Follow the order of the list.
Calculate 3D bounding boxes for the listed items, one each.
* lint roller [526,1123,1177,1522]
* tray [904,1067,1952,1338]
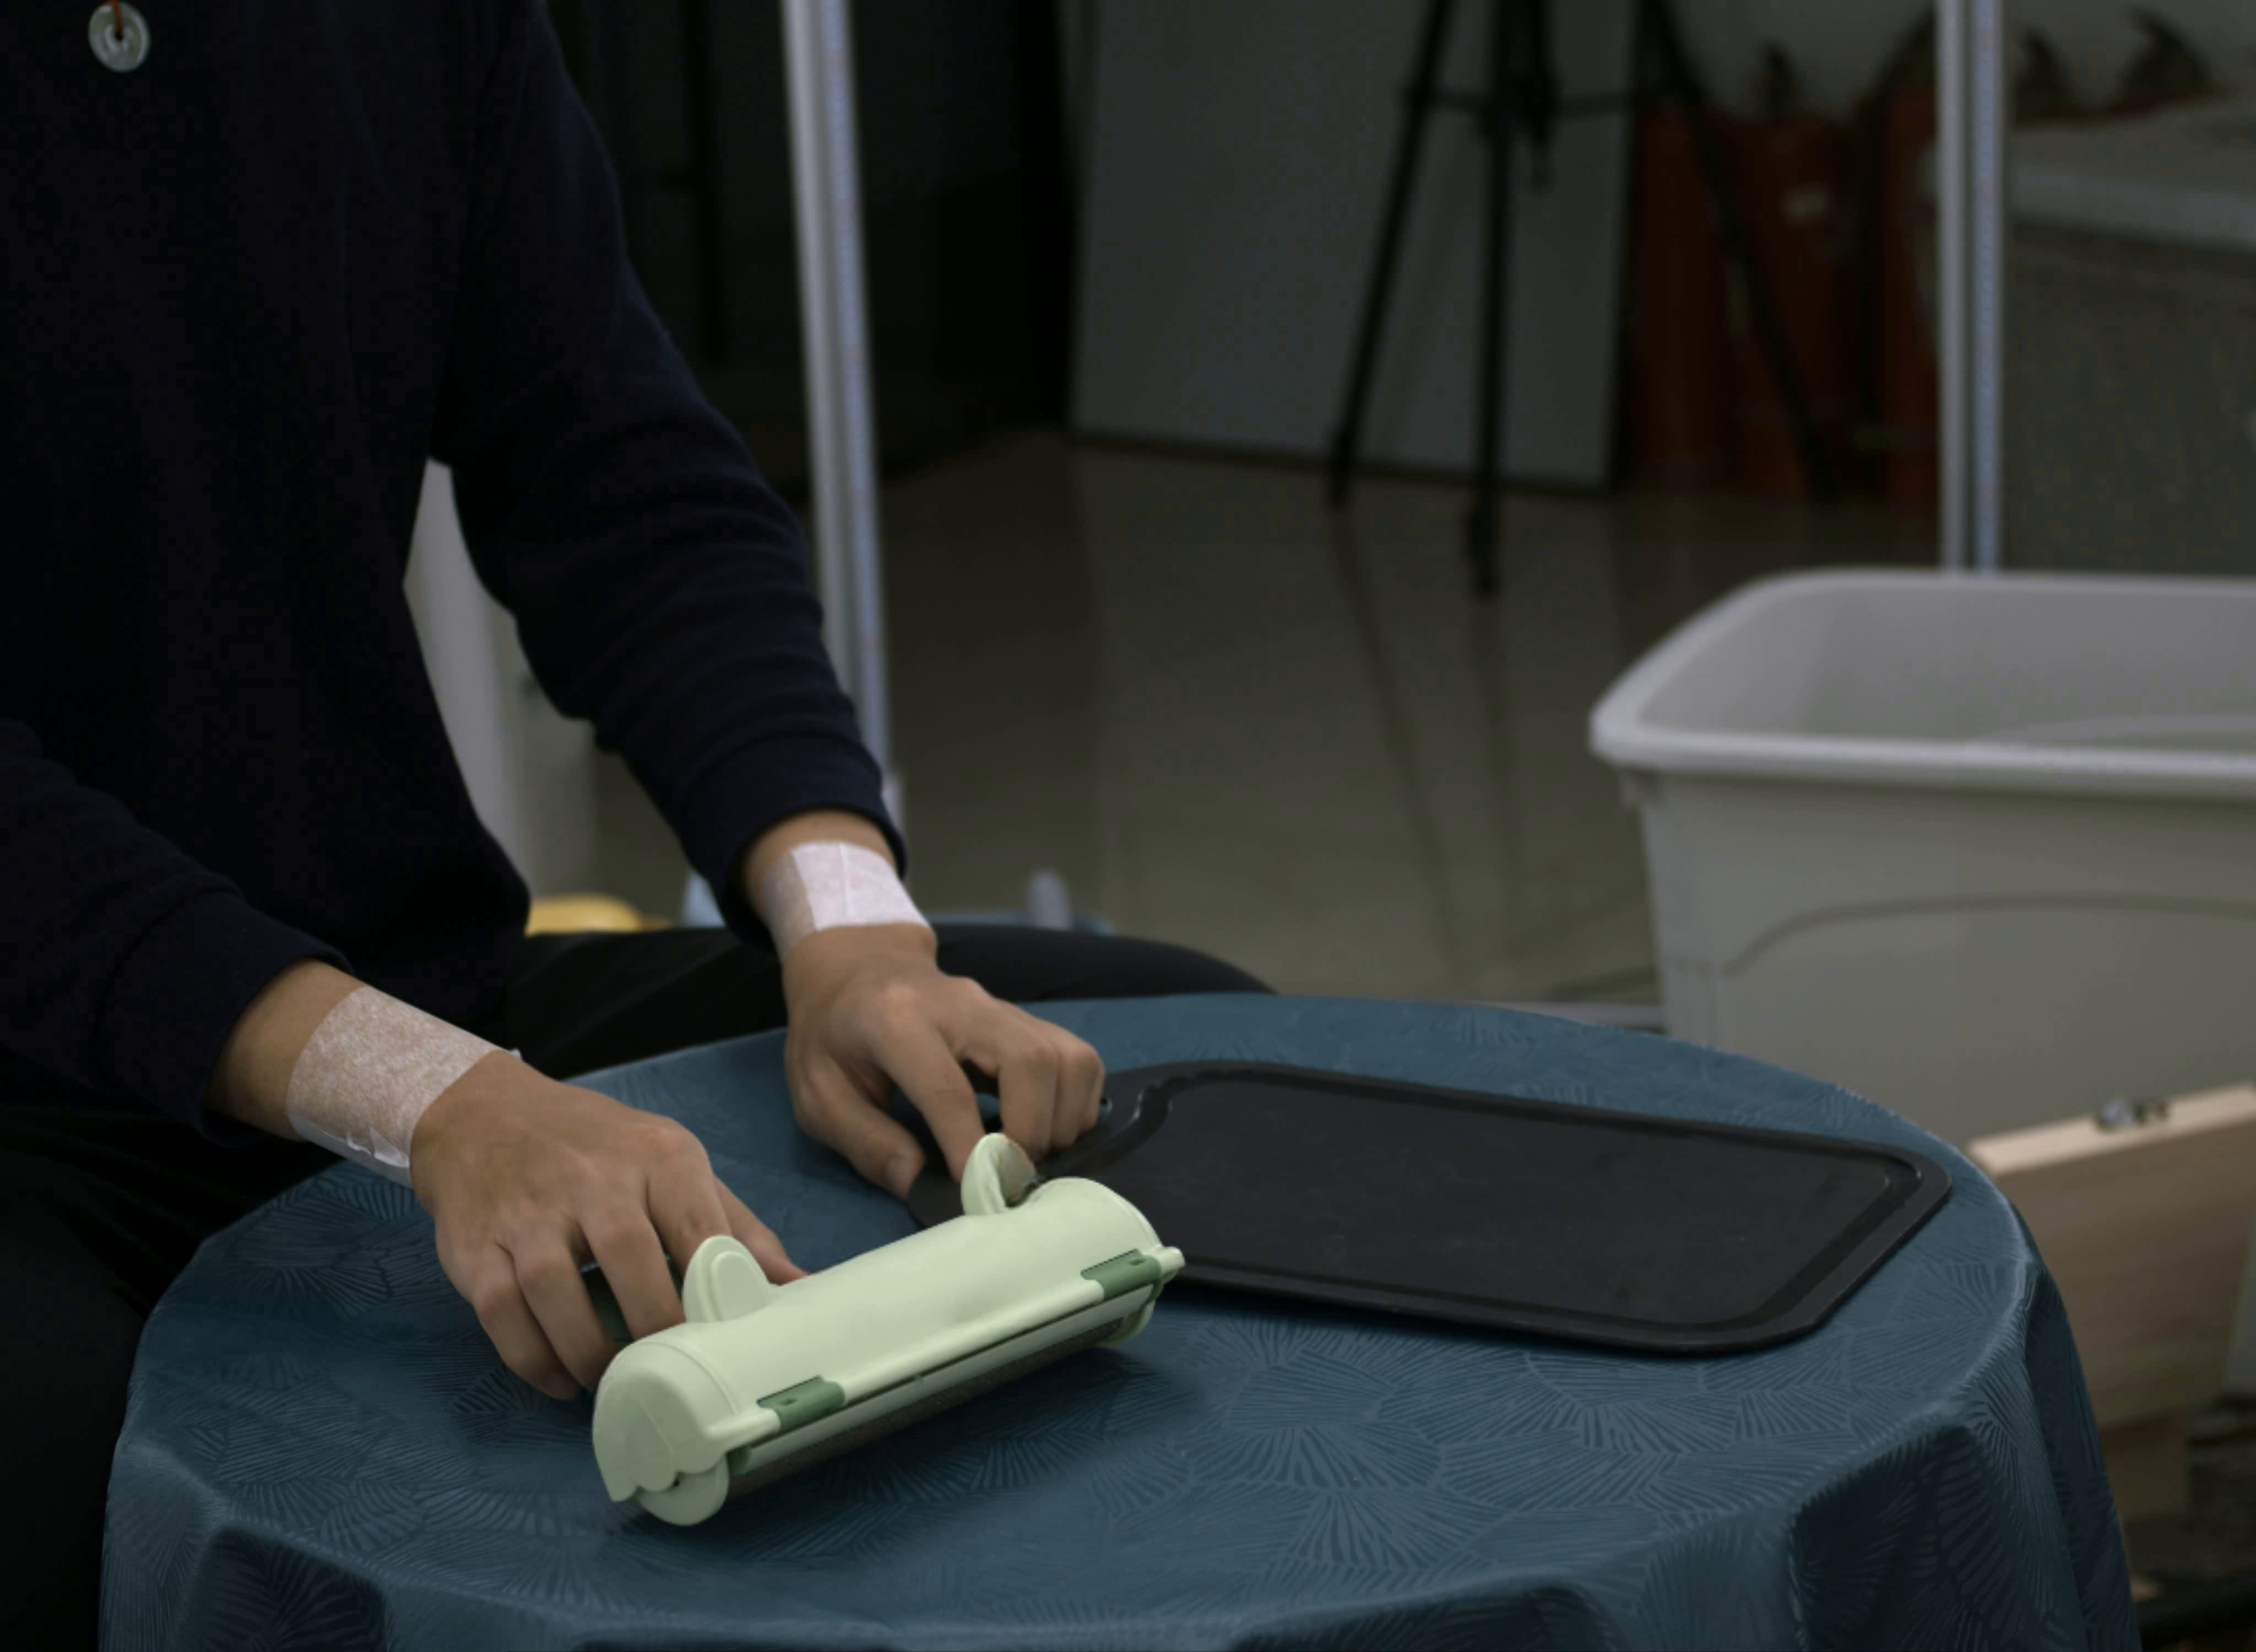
[{"bbox_3d":[-0.112,0.129,1.588,0.185,0.083,0.194,16,22,39],"label":"lint roller"},{"bbox_3d":[0.089,0.116,1.726,0.326,0.010,0.208,6,16,27],"label":"tray"}]
